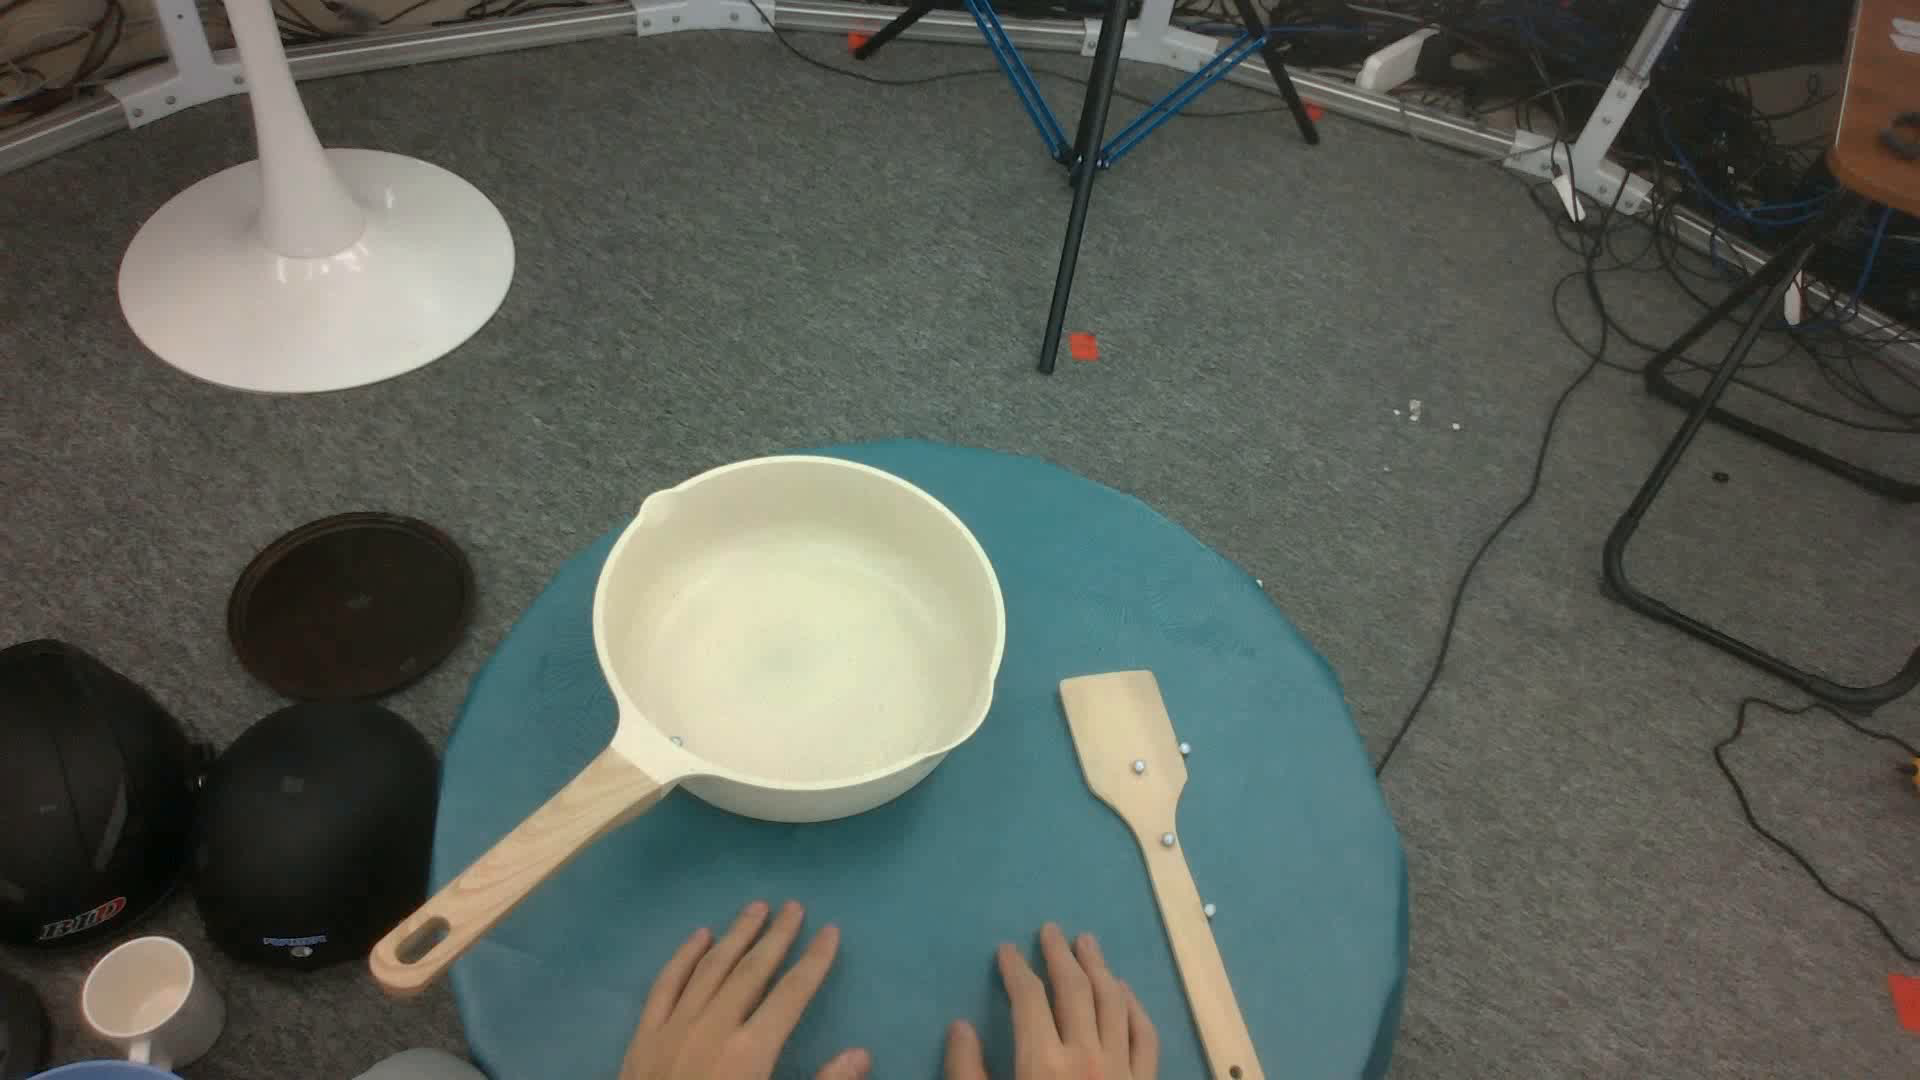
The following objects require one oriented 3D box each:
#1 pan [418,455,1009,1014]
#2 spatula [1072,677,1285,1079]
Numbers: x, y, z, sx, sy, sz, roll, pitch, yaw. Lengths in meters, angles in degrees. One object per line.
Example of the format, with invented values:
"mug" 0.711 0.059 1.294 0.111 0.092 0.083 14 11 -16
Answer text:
"pan" -0.148 0.118 0.833 0.263 0.101 0.437 32 54 15
"spatula" 0.143 0.211 0.860 0.072 0.010 0.294 -6 52 -15
